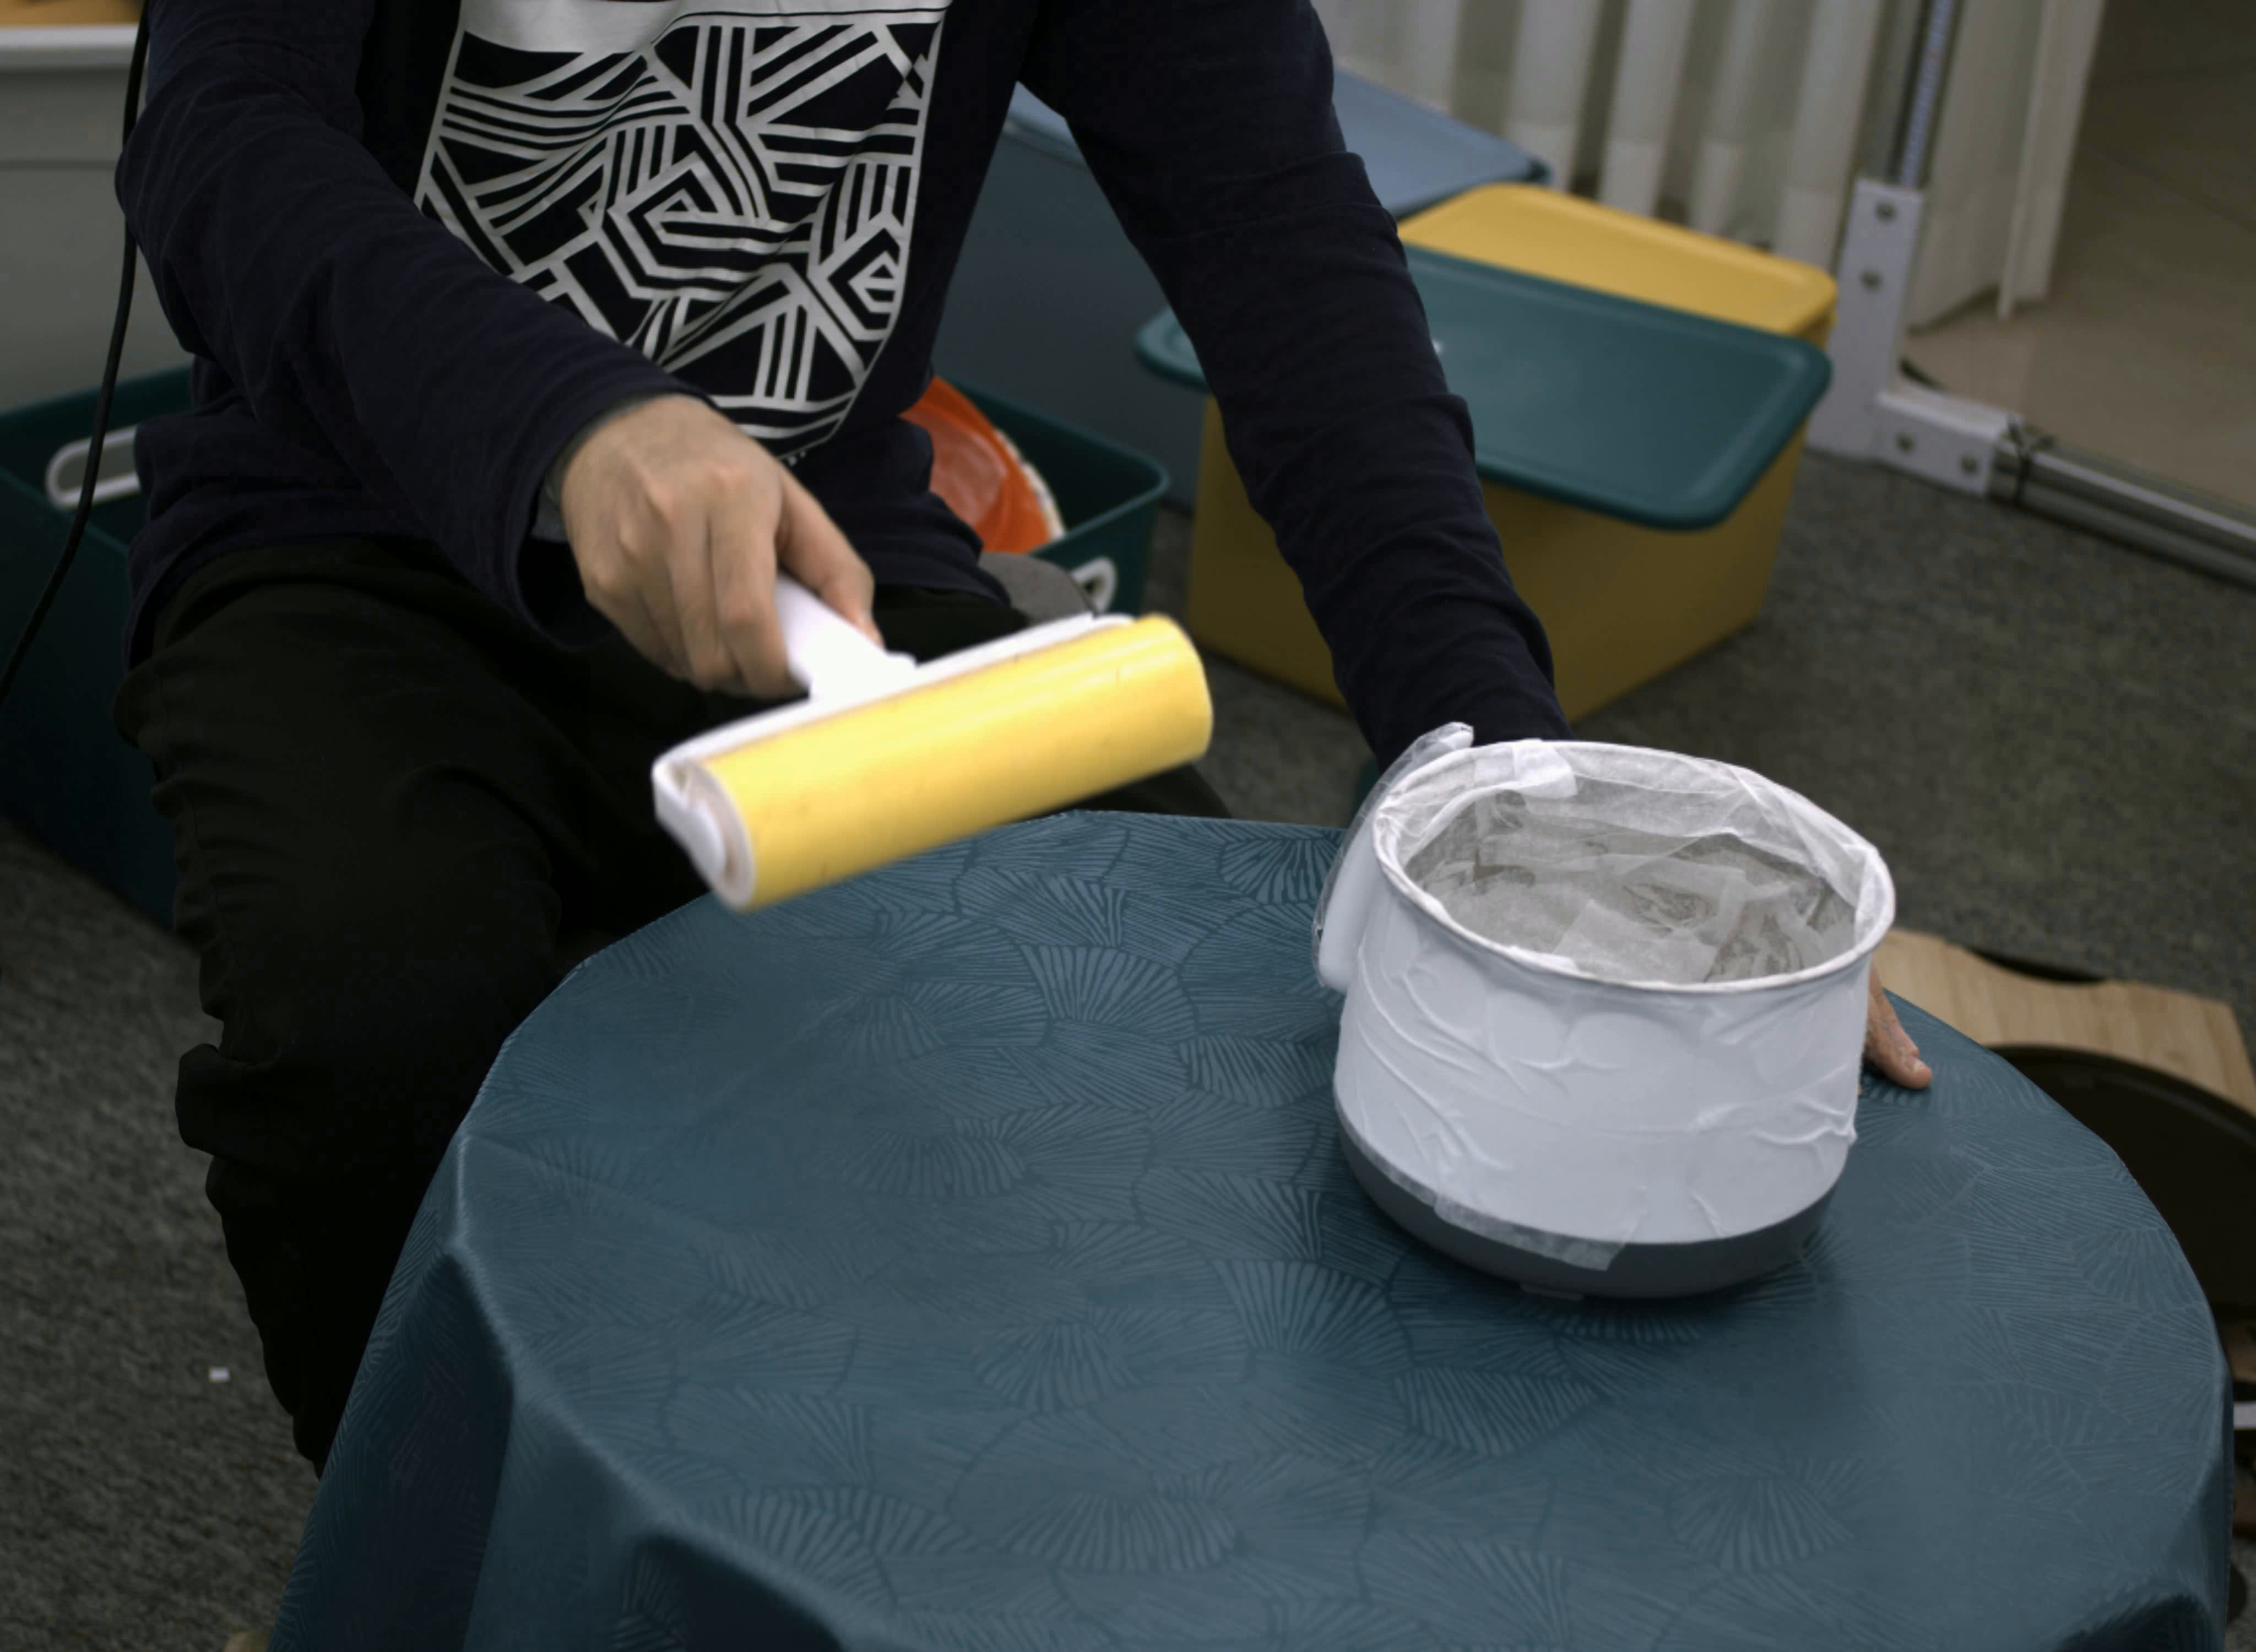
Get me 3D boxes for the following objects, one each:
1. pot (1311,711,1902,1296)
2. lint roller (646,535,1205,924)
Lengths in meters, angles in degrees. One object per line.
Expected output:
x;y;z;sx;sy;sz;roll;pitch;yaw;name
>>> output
0.146;0.053;1.821;0.177;0.136;0.236;-11;33;-35;pot
-0.095;-0.054;1.668;0.173;0.051;0.194;-20;44;-26;lint roller
